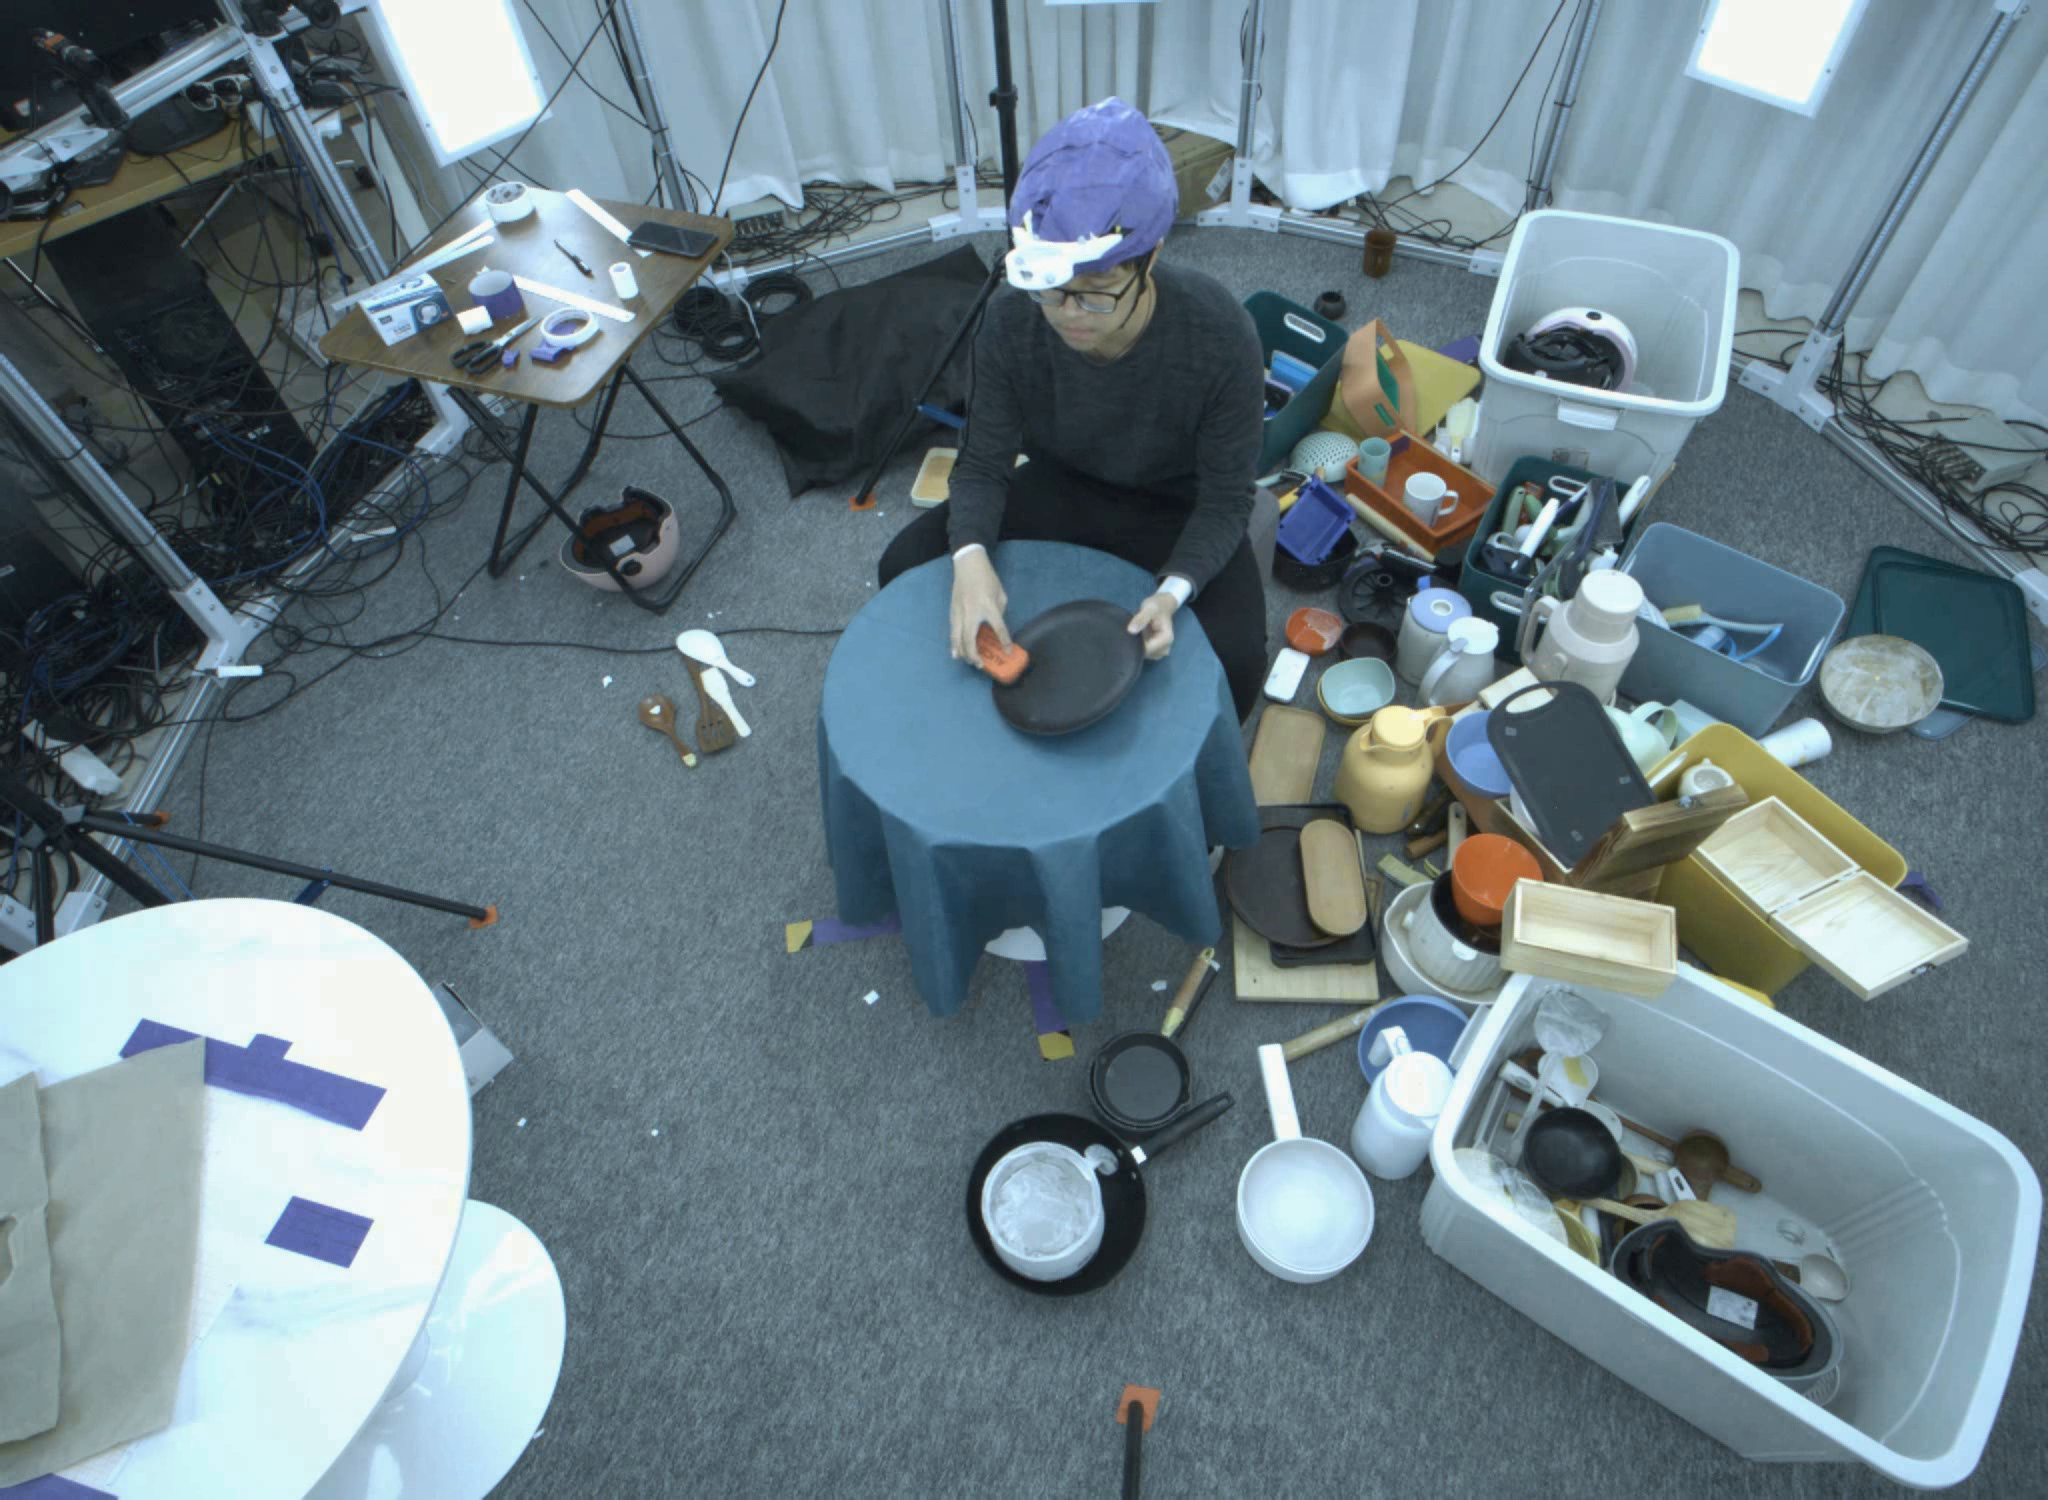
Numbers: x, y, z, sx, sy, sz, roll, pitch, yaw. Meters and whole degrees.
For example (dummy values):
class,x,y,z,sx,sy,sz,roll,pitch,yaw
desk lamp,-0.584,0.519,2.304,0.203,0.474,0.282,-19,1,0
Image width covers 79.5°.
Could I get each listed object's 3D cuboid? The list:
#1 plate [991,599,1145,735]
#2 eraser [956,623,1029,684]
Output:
class,x,y,z,sx,sy,sz,roll,pitch,yaw
plate,0.066,-0.121,1.821,0.242,0.024,0.242,-12,55,18
eraser,-0.048,-0.147,1.860,0.106,0.023,0.059,35,65,26
